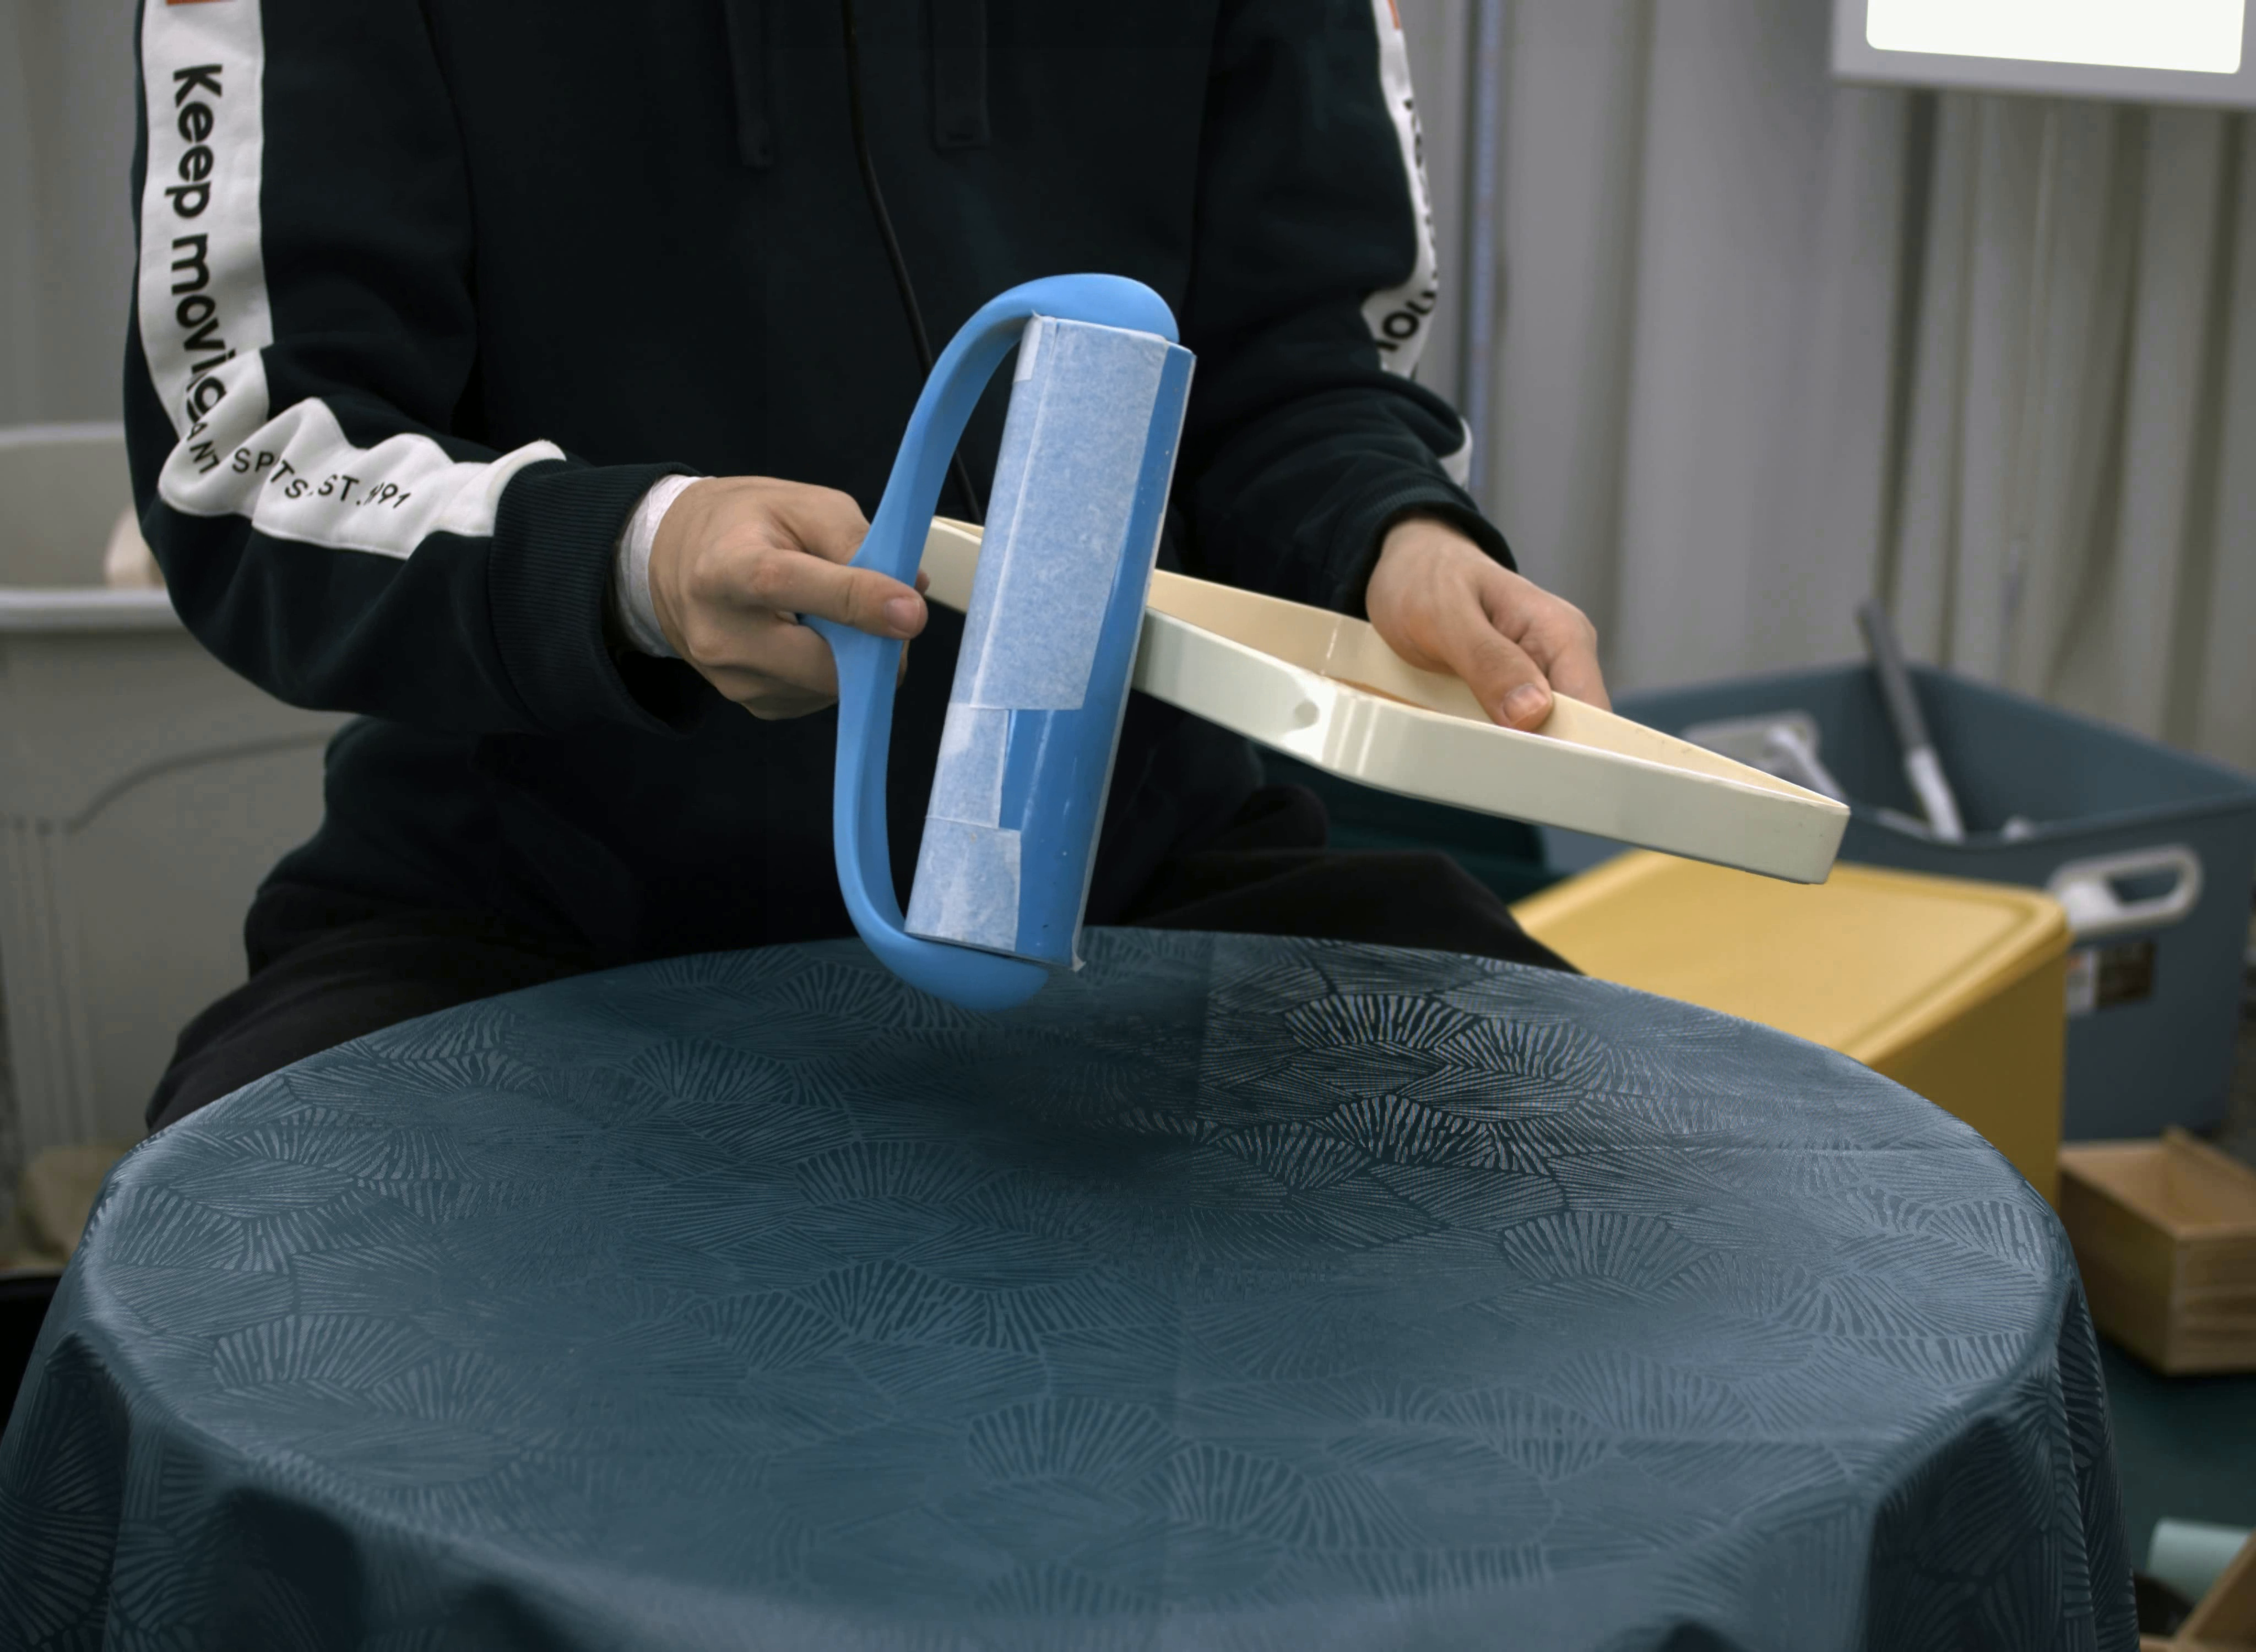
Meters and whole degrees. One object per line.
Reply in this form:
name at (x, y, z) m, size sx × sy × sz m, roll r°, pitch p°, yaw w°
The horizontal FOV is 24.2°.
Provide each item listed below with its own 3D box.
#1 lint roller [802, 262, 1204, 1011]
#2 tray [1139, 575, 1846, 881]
lint roller at (-0.060, -0.060, 1.637) m, size 0.068 × 0.229 × 0.178 m, roll 10°, pitch -5°, yaw -42°
tray at (0.072, -0.042, 1.676) m, size 0.193 × 0.027 × 0.296 m, roll 12°, pitch 7°, yaw -32°
